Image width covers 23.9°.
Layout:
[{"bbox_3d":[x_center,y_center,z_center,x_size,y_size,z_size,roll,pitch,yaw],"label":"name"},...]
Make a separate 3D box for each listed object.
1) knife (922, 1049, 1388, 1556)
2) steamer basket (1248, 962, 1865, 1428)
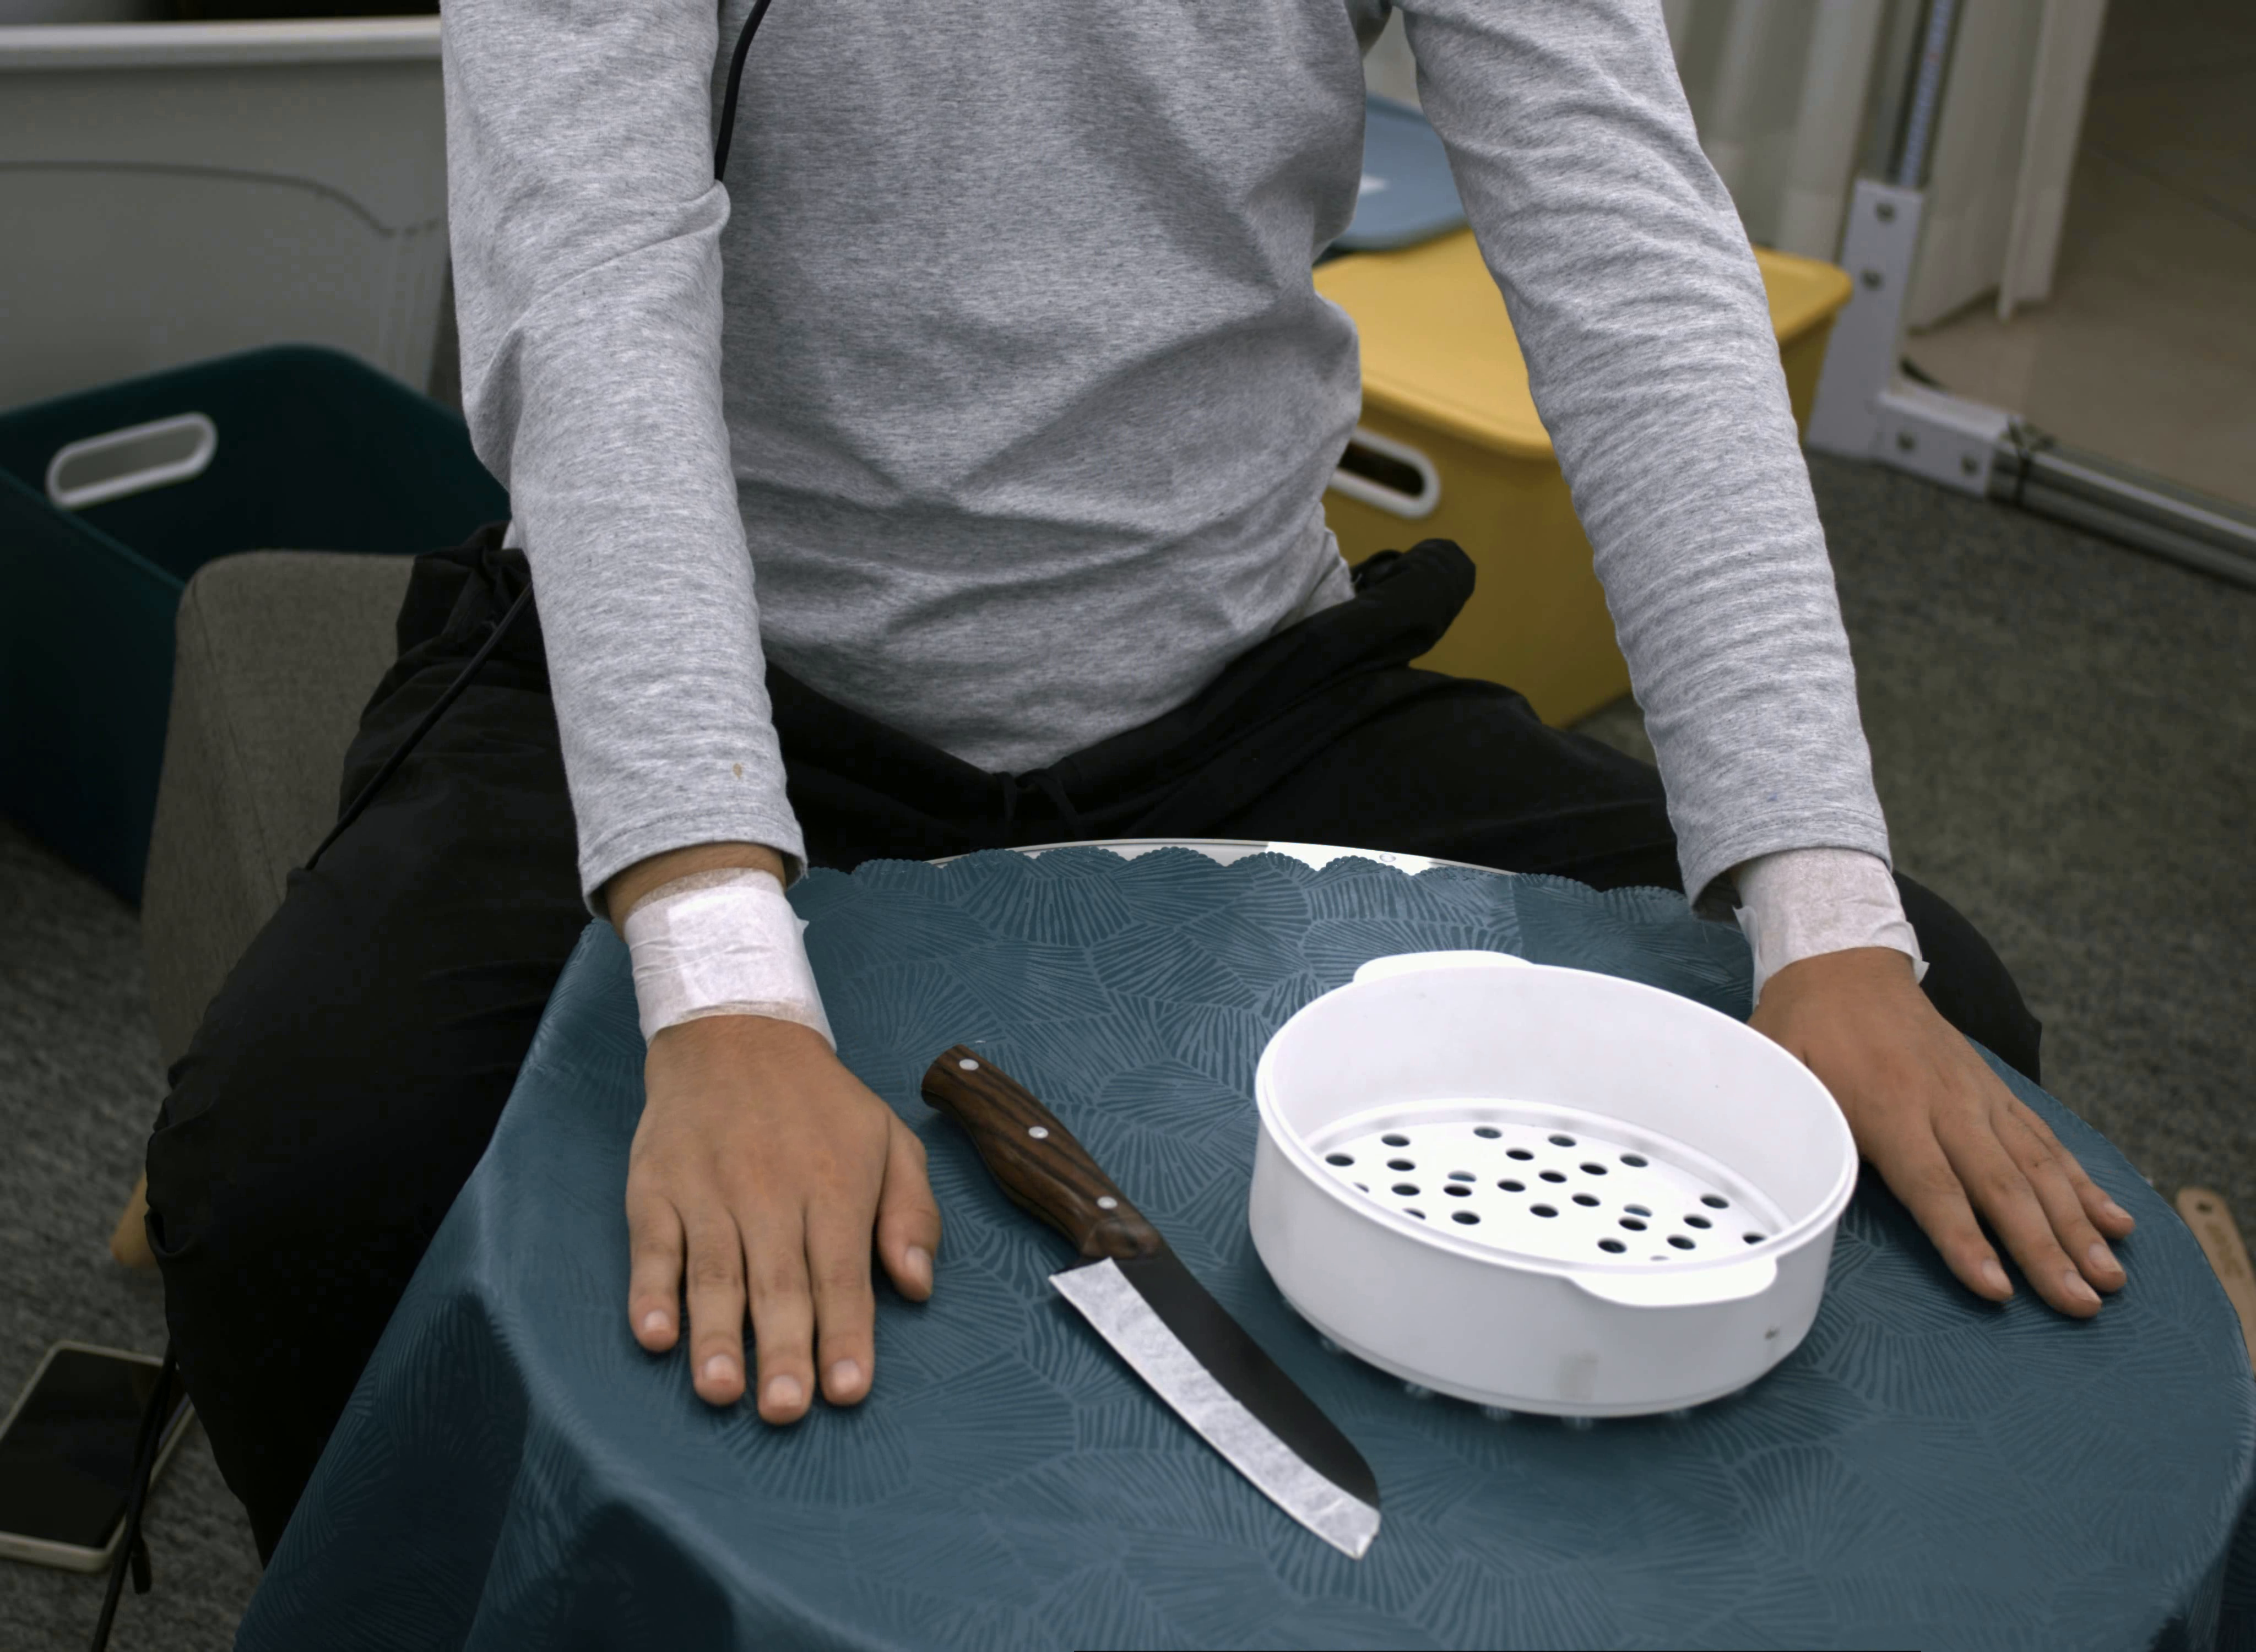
[{"bbox_3d":[0.006,0.153,1.732,0.050,0.020,0.292,-13,35,-26],"label":"knife"},{"bbox_3d":[0.139,0.124,1.763,0.200,0.069,0.232,-3,27,-19],"label":"steamer basket"}]
